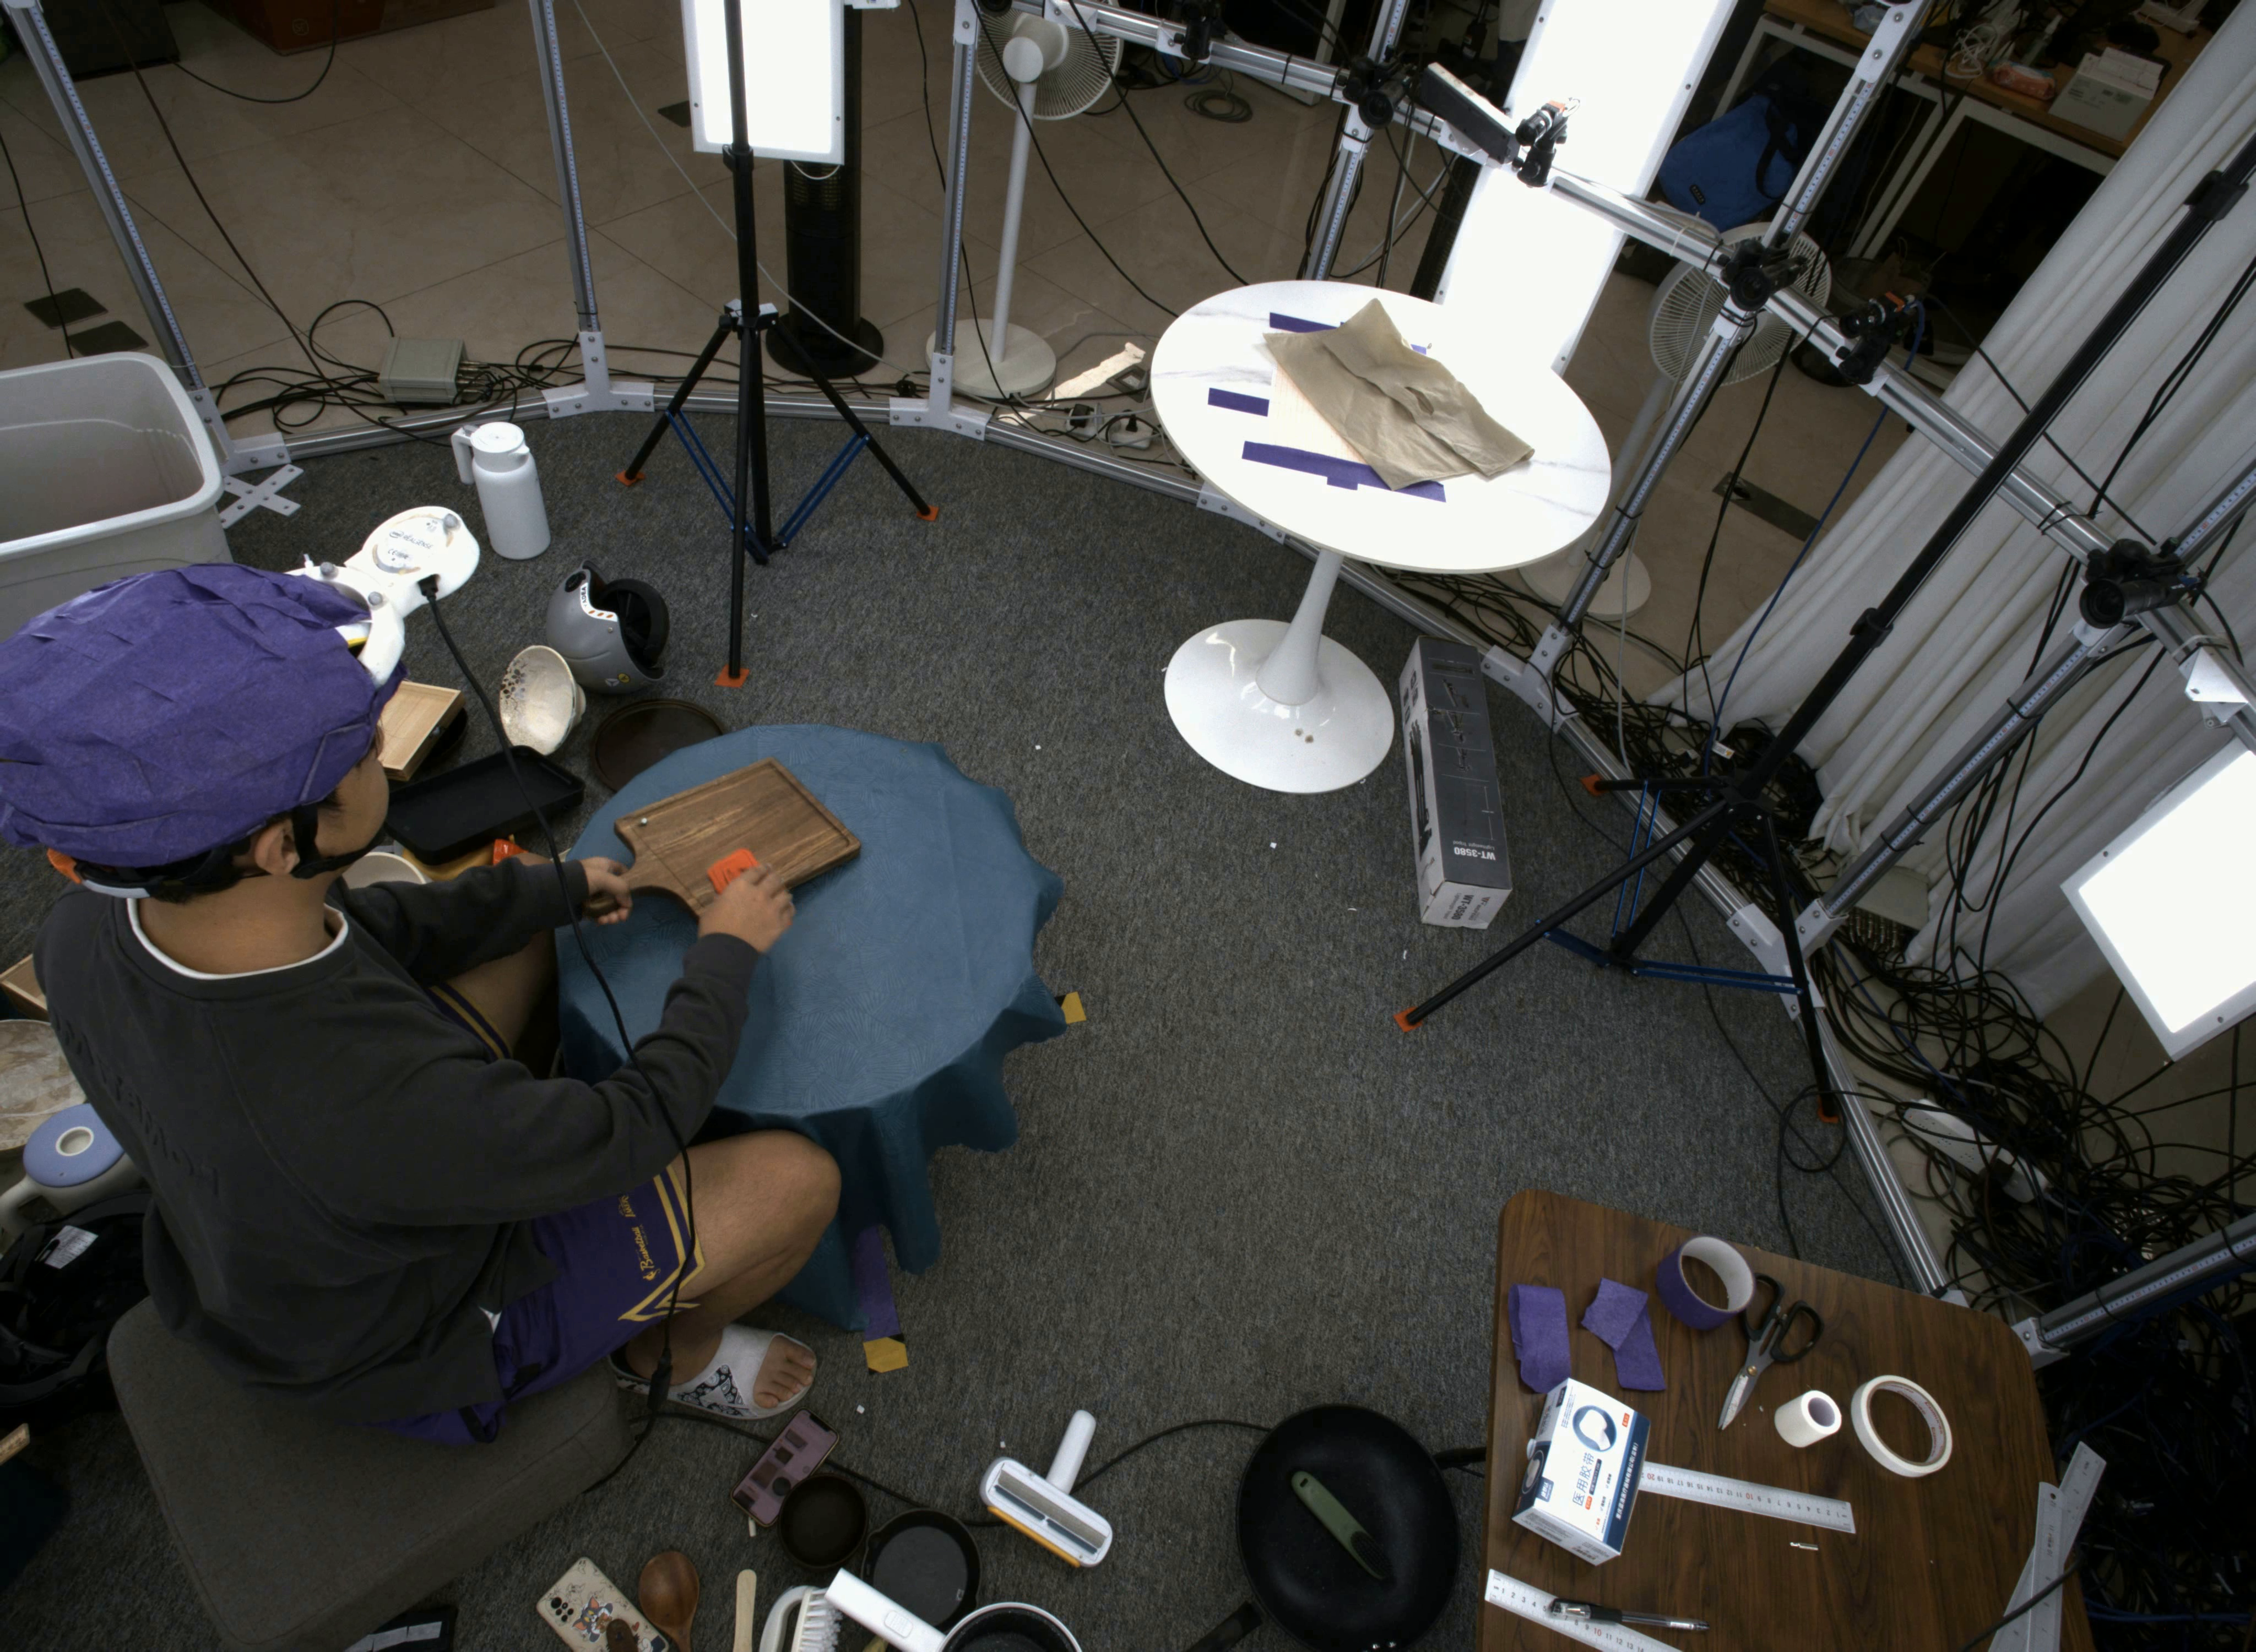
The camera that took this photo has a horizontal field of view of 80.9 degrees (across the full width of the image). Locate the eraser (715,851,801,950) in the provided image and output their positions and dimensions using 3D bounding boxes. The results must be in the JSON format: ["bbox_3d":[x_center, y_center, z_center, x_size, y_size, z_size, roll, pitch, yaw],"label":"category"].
[{"bbox_3d":[-0.438,0.086,1.529,0.059,0.022,0.109,-33,94,-26],"label":"eraser"}]

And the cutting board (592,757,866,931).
[{"bbox_3d":[-0.522,0.032,1.624,0.196,0.023,0.354,42,44,17],"label":"cutting board"}]
